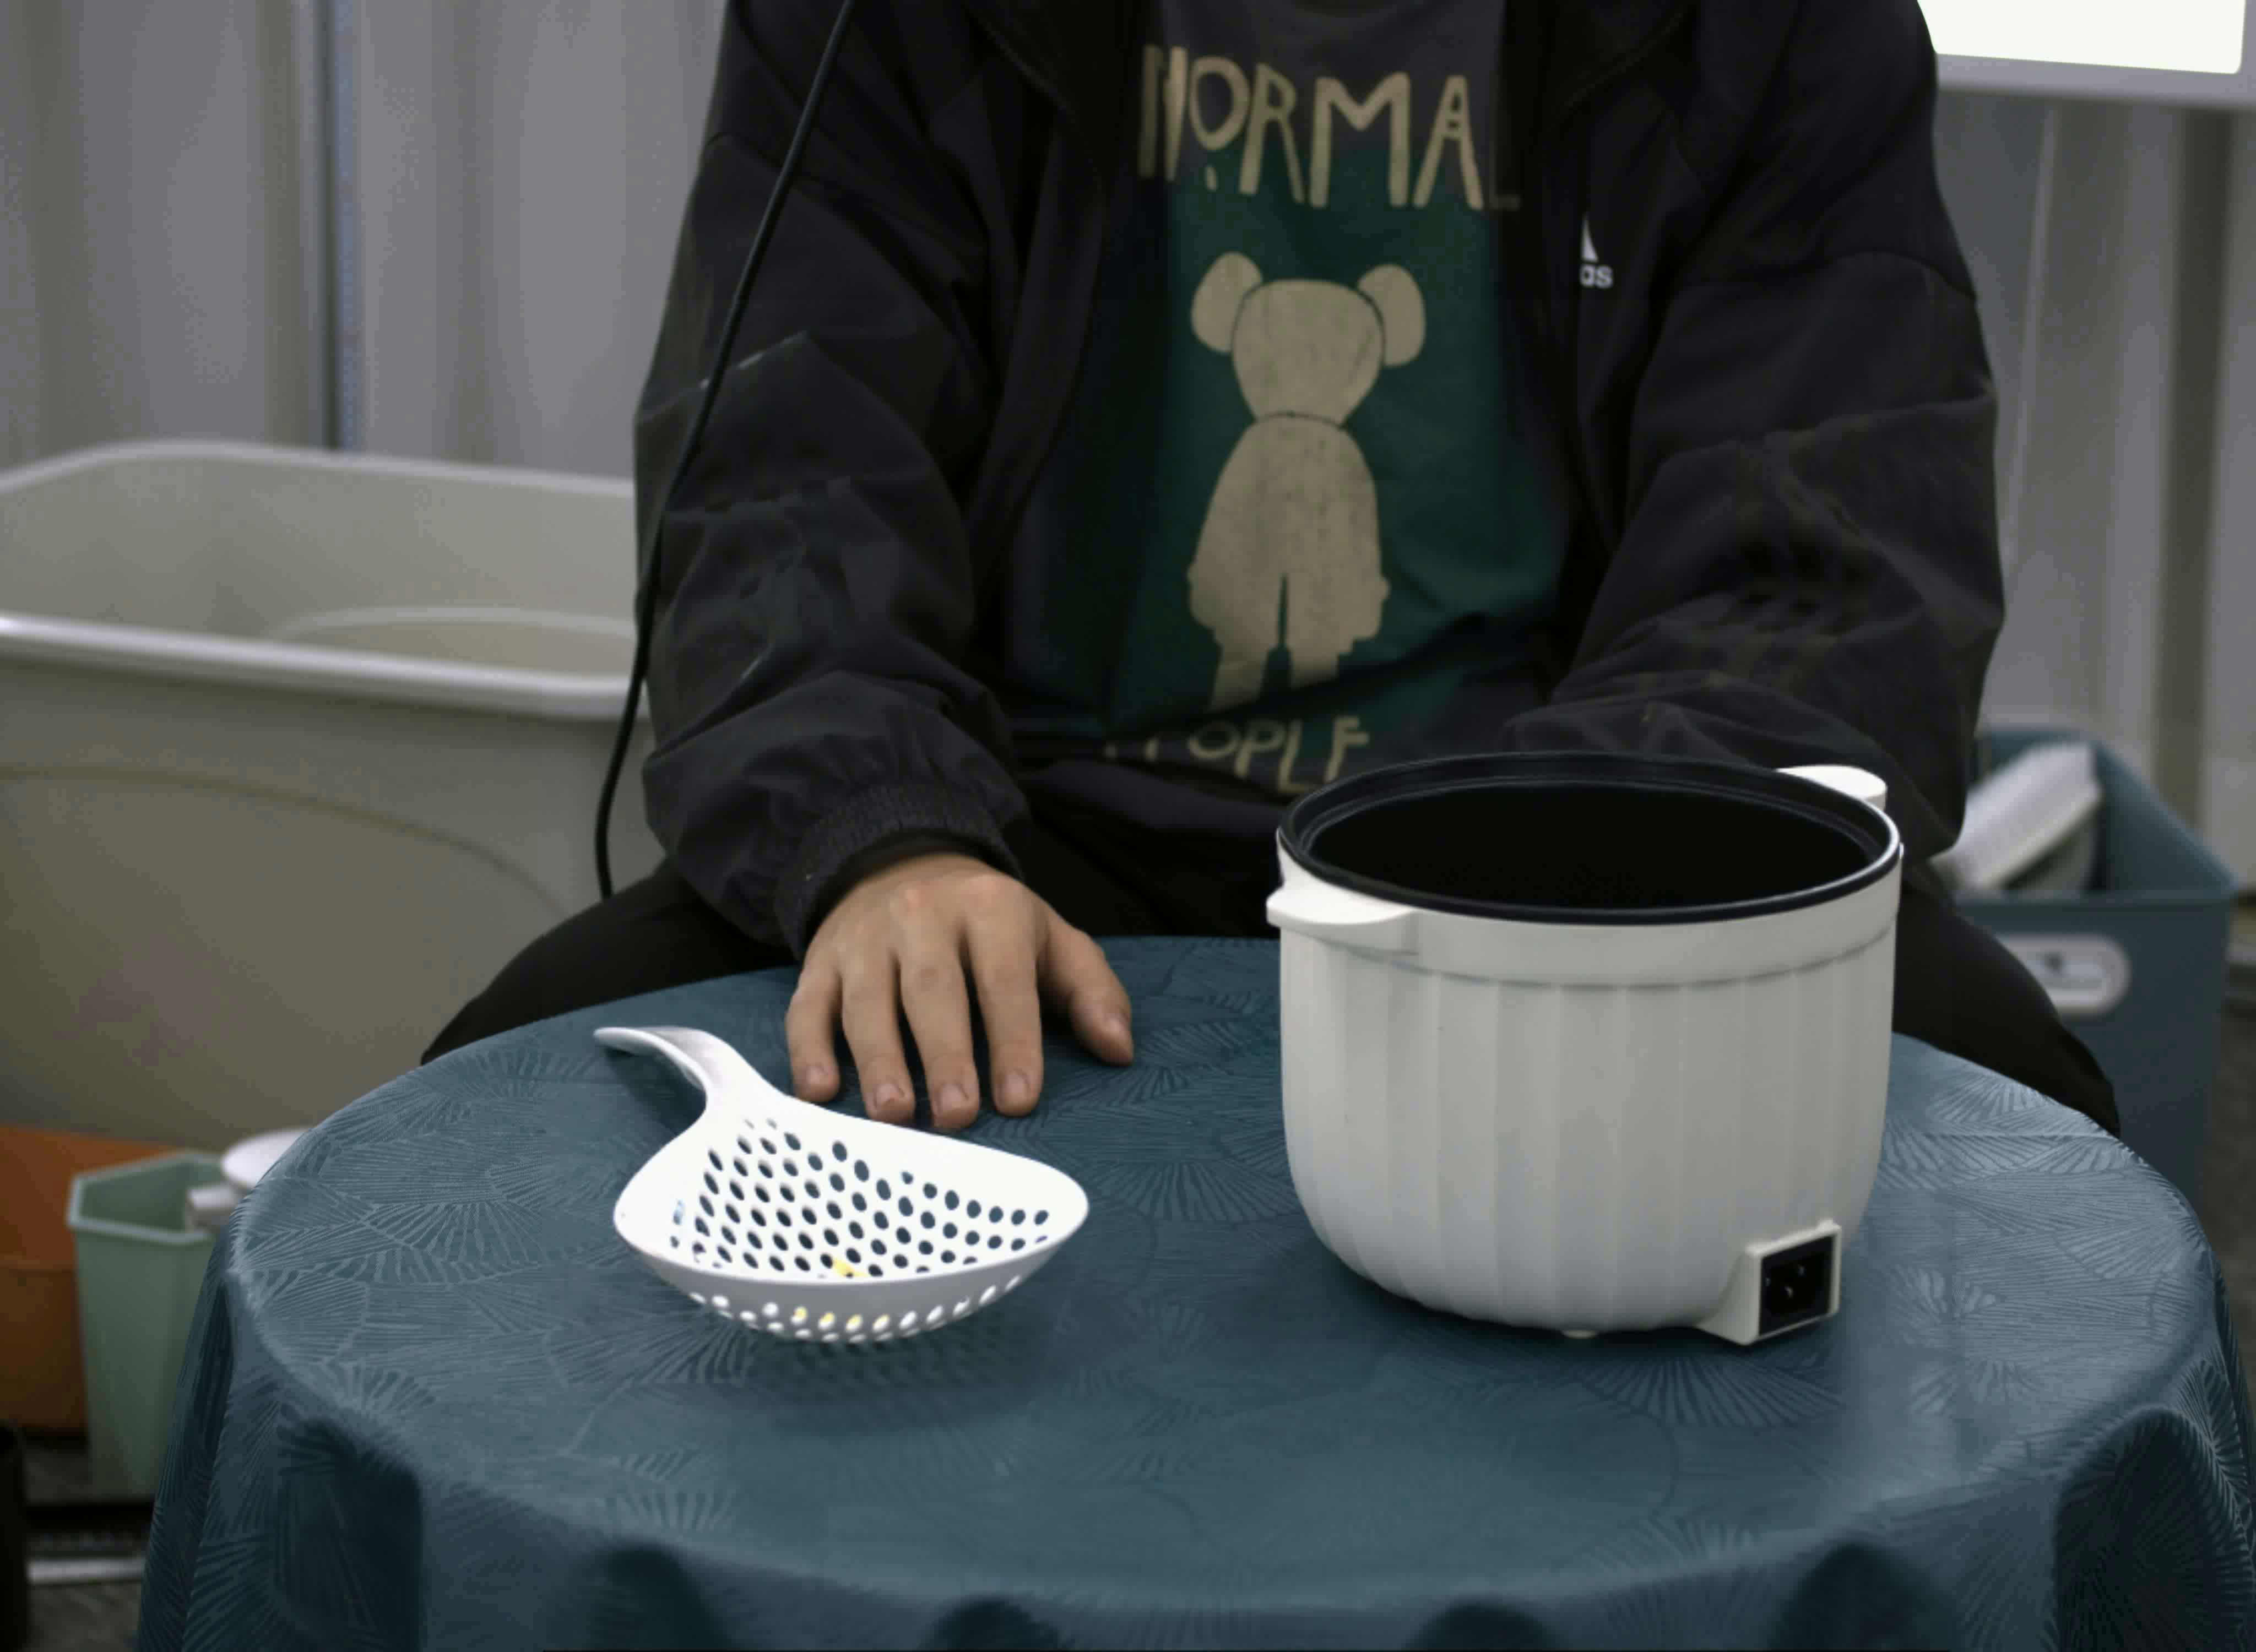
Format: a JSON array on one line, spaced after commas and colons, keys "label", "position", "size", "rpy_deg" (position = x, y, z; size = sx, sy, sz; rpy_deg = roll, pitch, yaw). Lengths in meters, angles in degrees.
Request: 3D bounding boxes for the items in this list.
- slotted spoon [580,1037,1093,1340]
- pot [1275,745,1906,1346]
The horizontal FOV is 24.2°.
[{"label": "slotted spoon", "position": [-0.114, 0.096, 1.601], "size": [0.137, 0.051, 0.344], "rpy_deg": [-7, 17, -18]}, {"label": "pot", "position": [0.129, 0.063, 1.548], "size": [0.242, 0.144, 0.188], "rpy_deg": [-11, 22, -41]}]
